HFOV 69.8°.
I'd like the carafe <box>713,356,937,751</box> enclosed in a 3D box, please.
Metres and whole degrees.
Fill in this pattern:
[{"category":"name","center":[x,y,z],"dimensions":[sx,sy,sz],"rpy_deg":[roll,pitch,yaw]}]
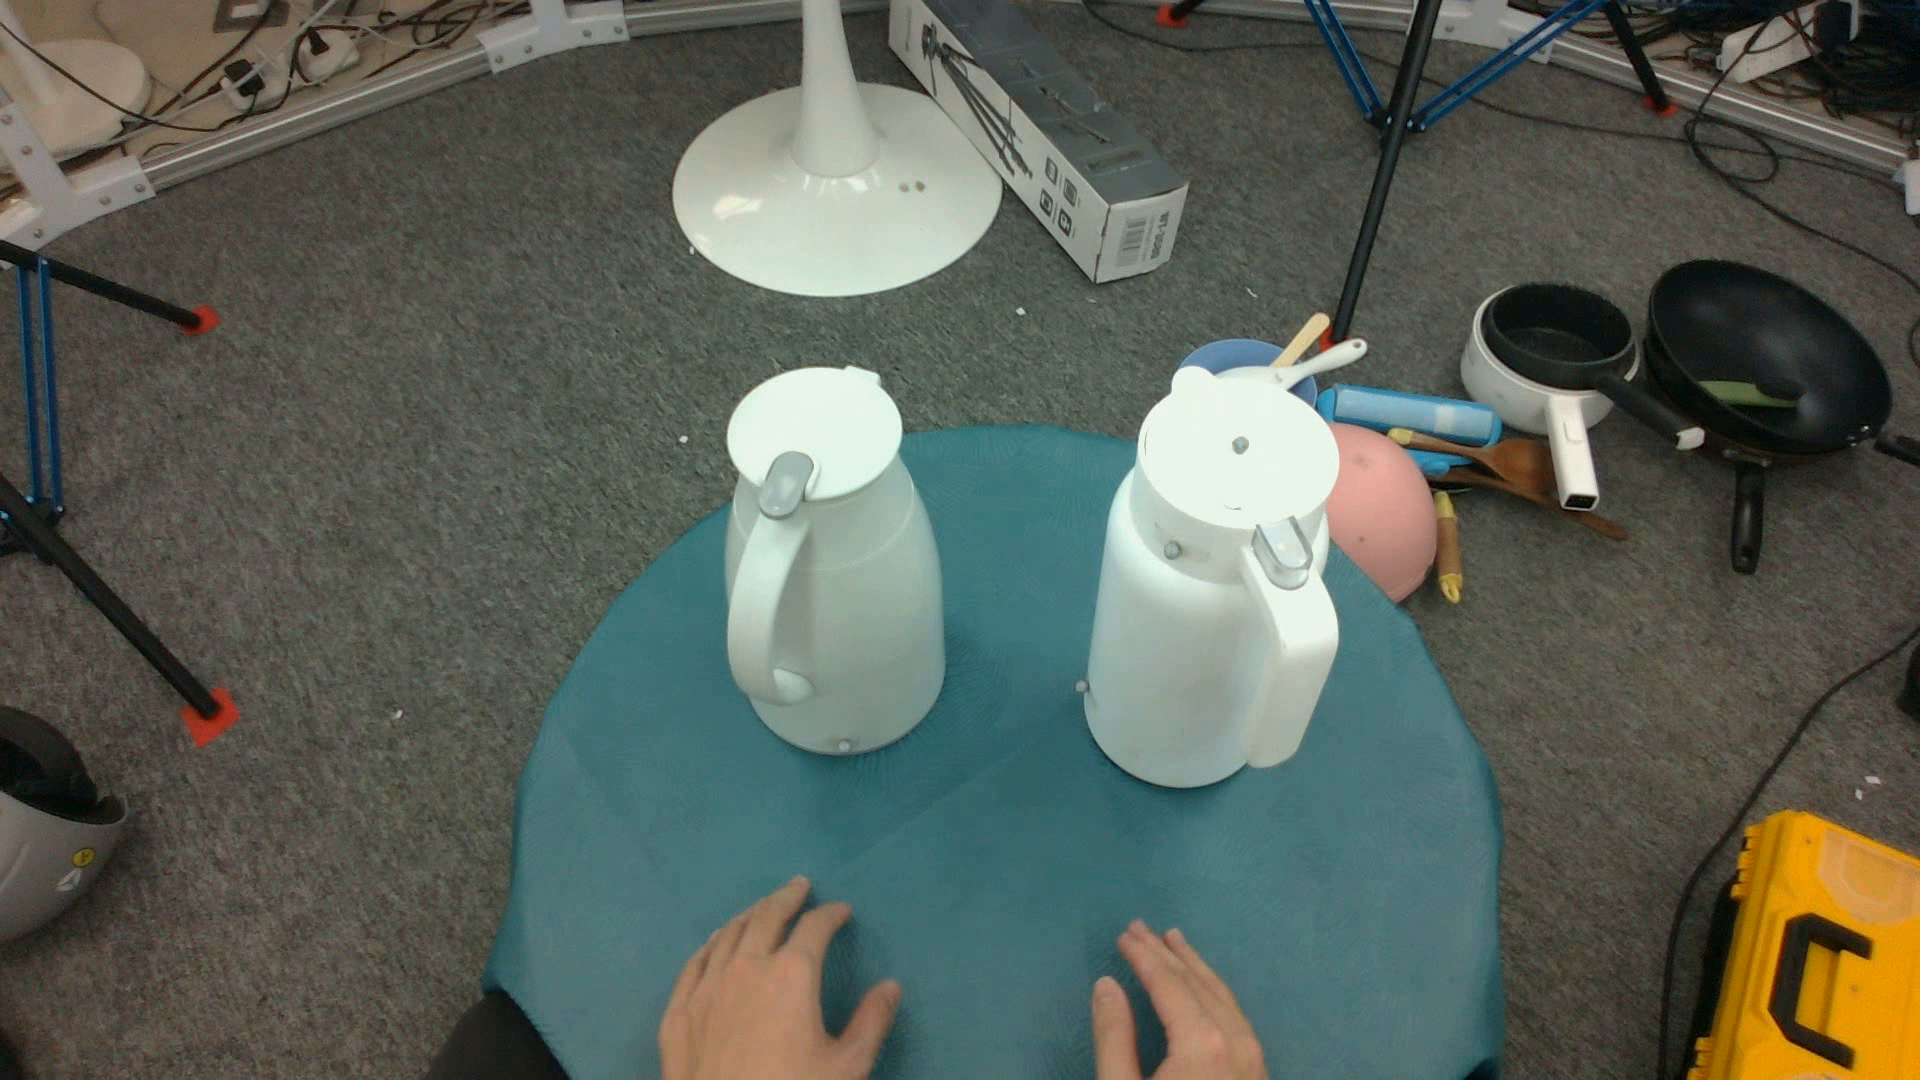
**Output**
[{"category":"carafe","center":[-0.087,0.022,0.796],"dimensions":[0.132,0.247,0.168],"rpy_deg":[16,55,11]}]

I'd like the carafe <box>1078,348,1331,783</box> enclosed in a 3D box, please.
[{"category":"carafe","center":[0.140,0.042,0.774],"dimensions":[0.124,0.267,0.173],"rpy_deg":[-12,54,-12]}]
